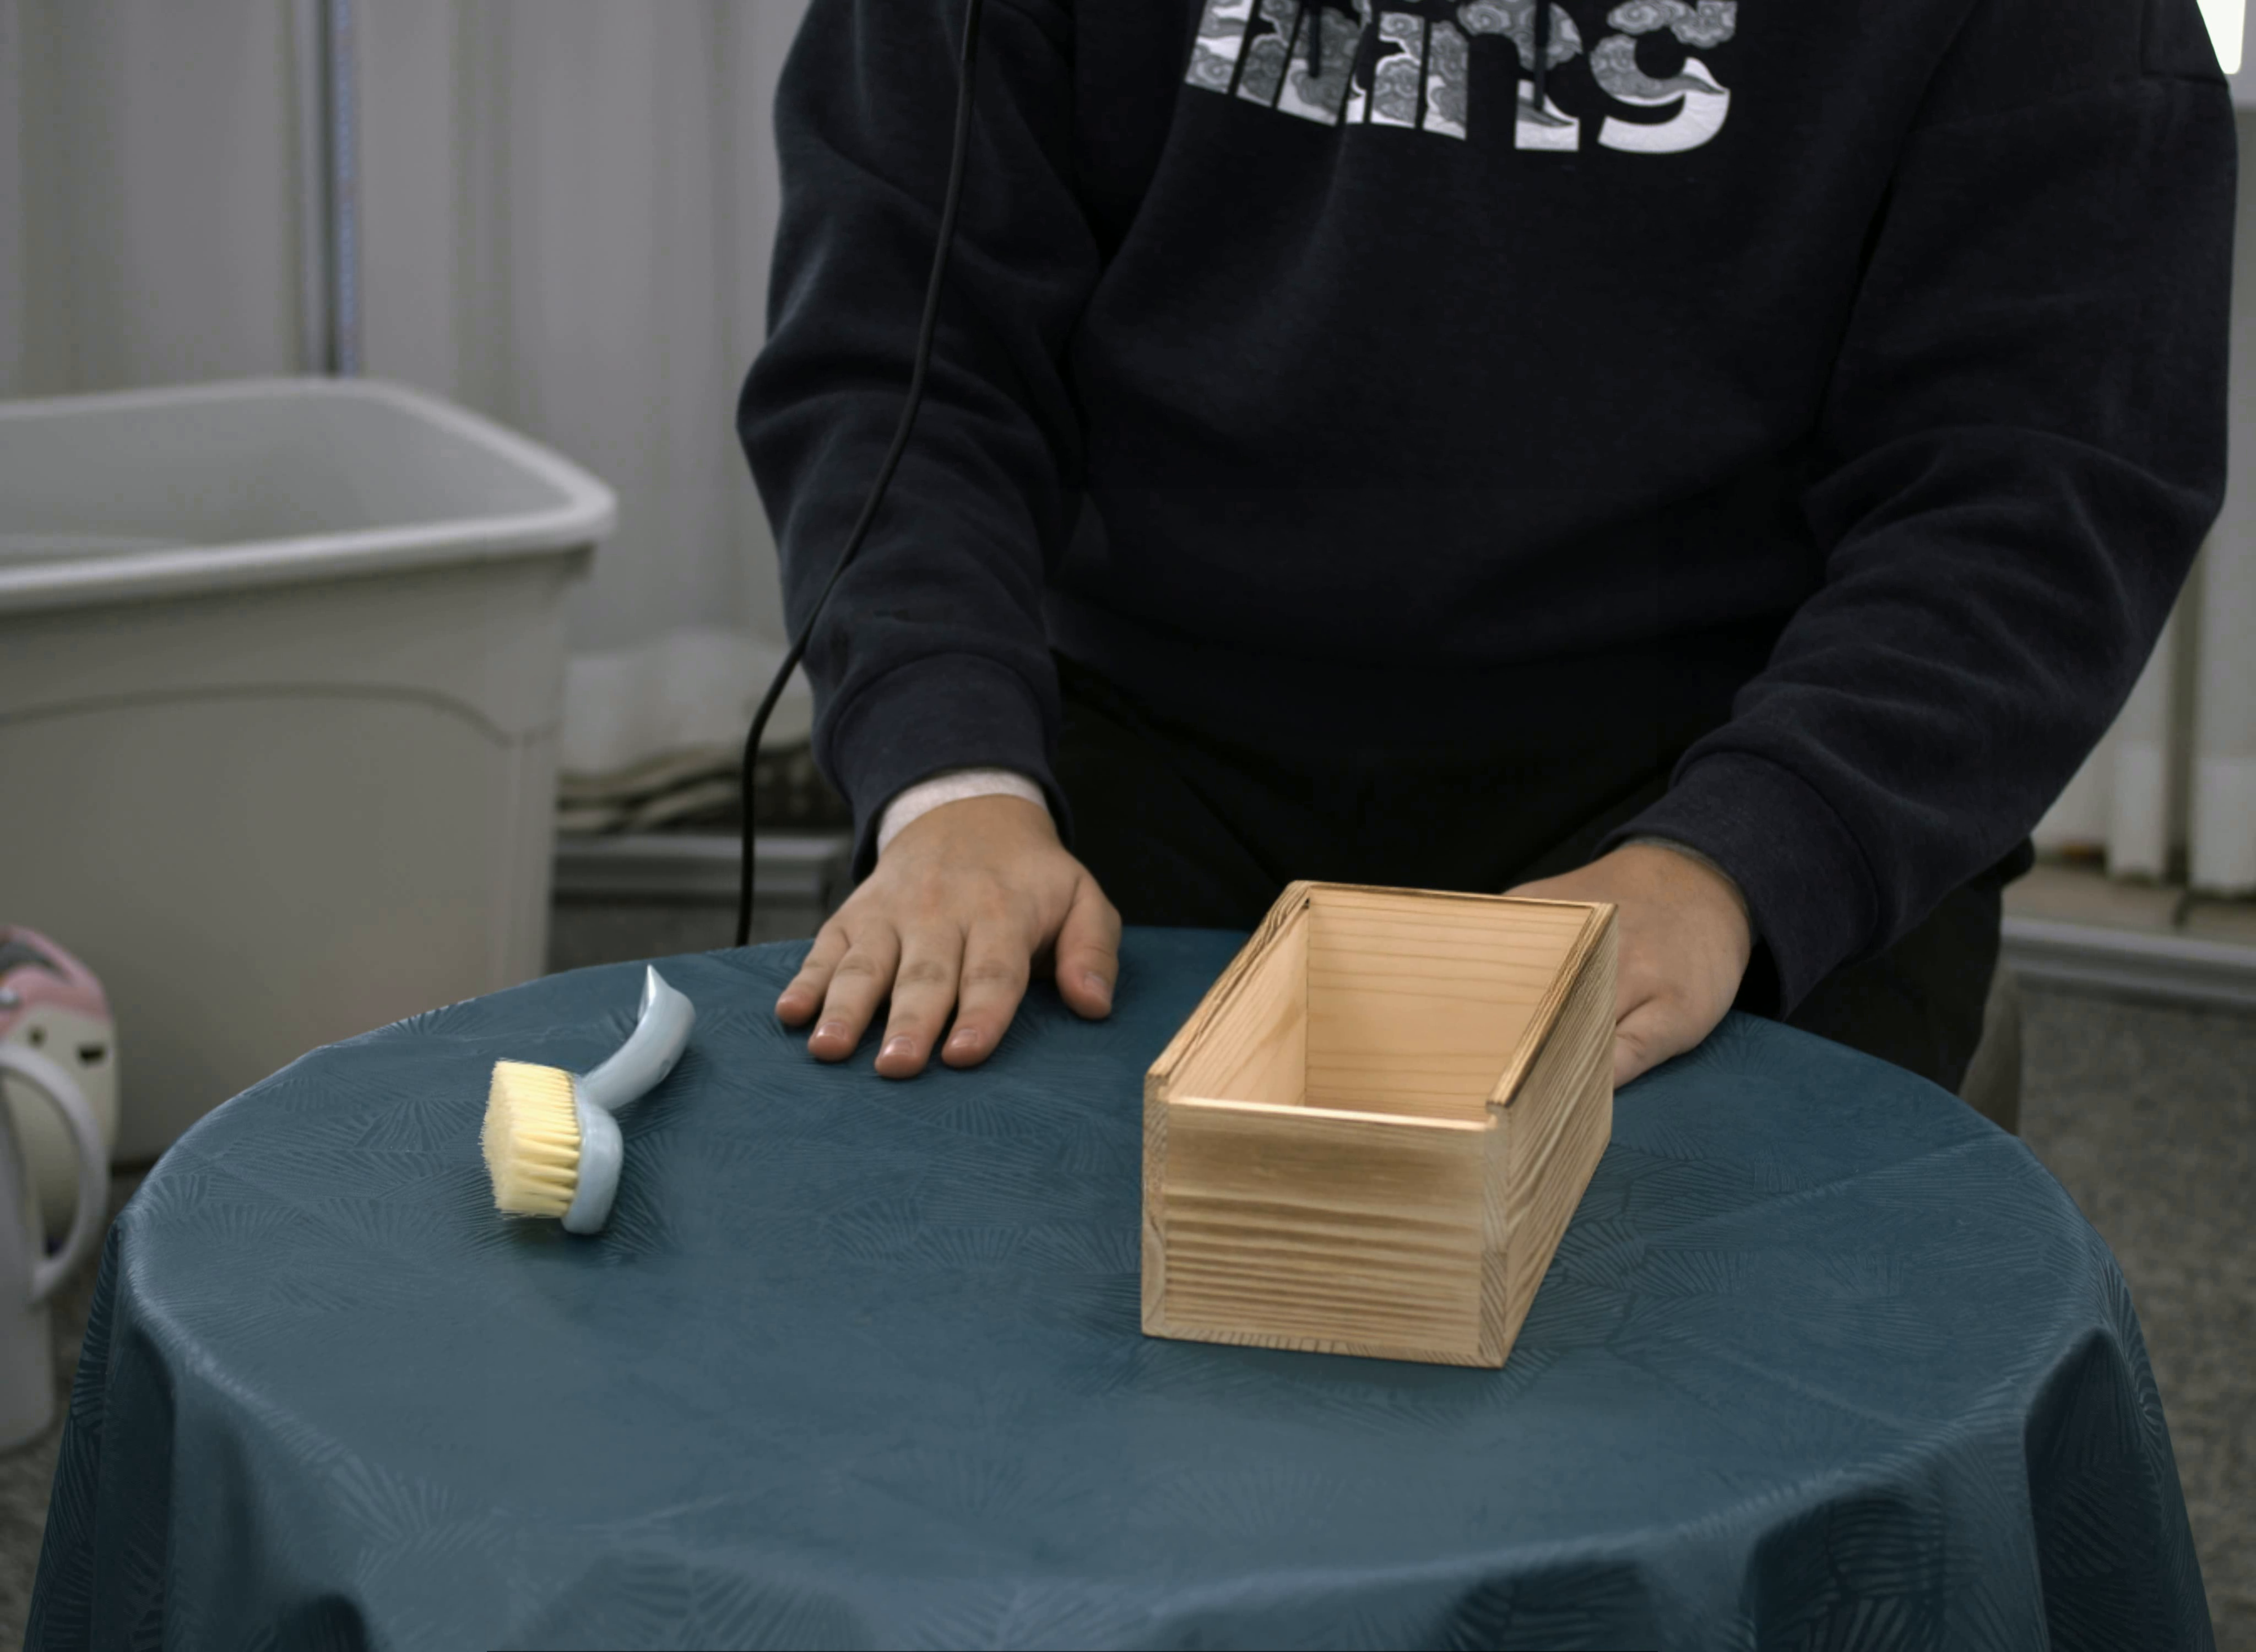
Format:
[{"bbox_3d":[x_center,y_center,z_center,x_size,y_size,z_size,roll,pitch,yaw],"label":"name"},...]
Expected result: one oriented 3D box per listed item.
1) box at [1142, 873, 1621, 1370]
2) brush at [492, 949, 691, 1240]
[{"bbox_3d":[0.080,0.084,1.581,0.107,0.081,0.211,4,16,12],"label":"box"},{"bbox_3d":[-0.171,0.078,1.669,0.049,0.038,0.227,8,16,0],"label":"brush"}]
